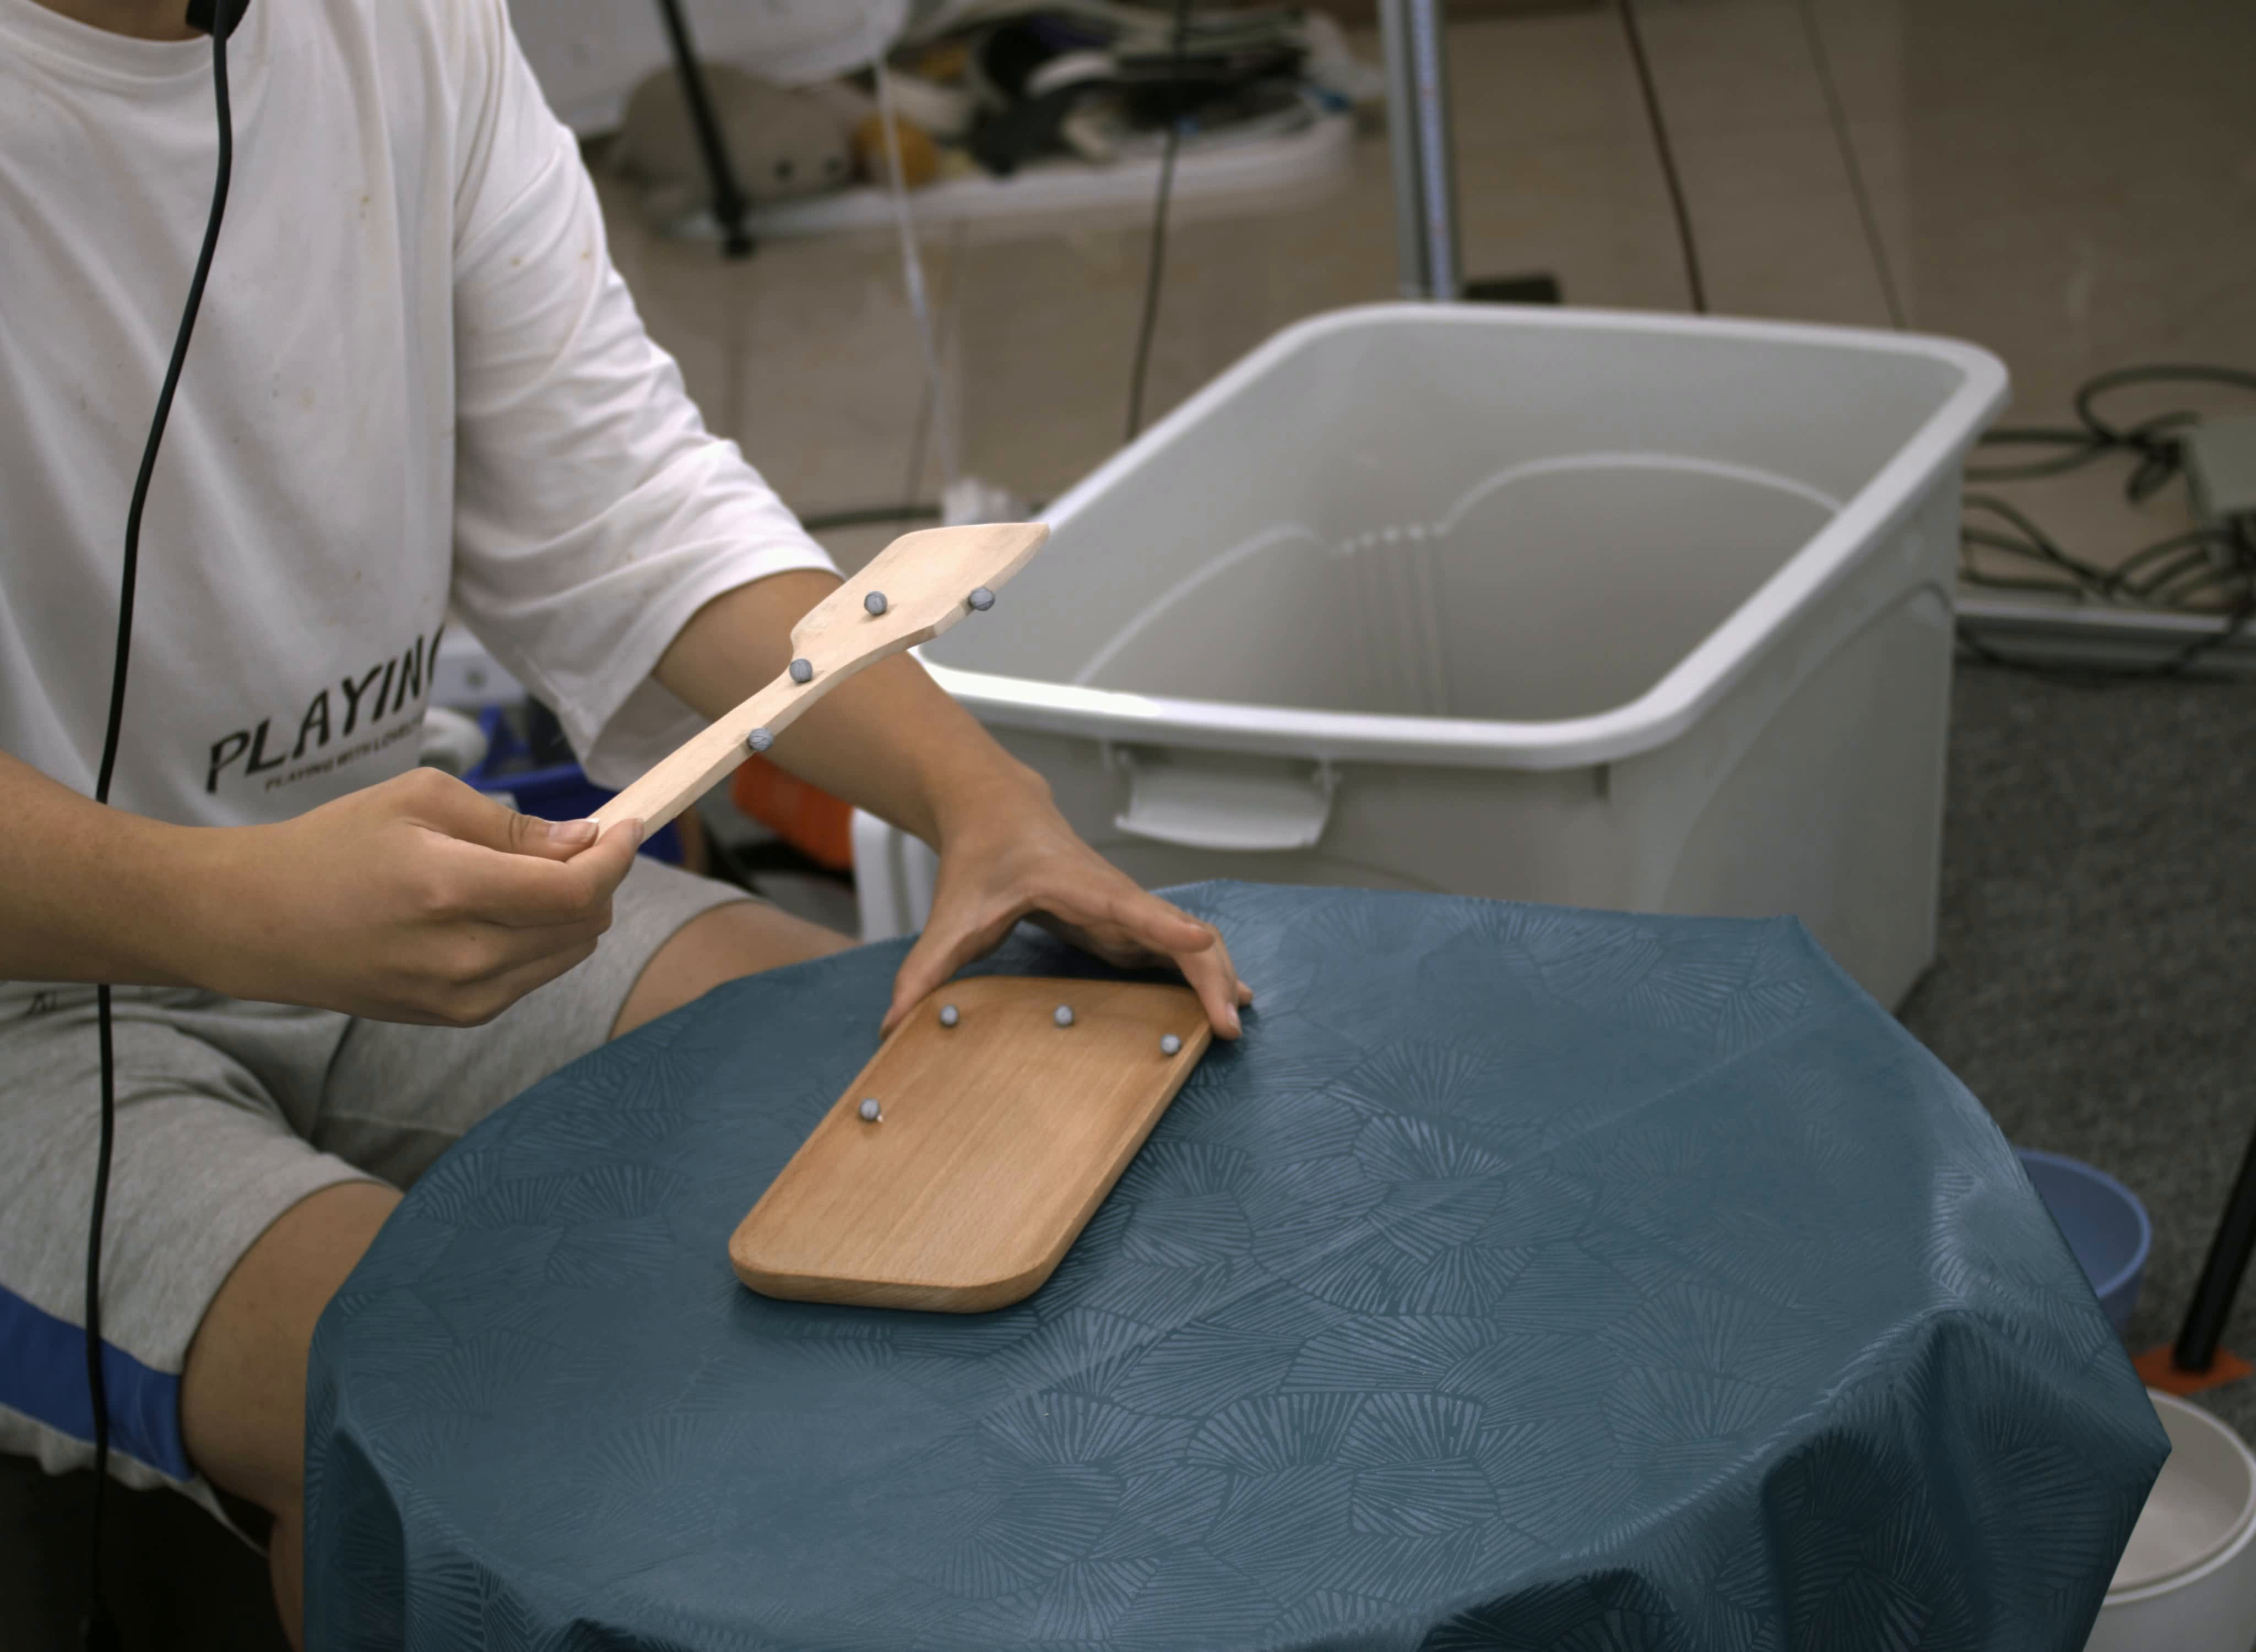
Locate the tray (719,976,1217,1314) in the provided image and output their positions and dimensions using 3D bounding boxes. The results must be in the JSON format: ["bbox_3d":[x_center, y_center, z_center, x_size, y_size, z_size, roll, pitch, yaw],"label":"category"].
[{"bbox_3d":[-0.058,0.120,2.183,0.130,0.023,0.247,1,26,22],"label":"tray"}]

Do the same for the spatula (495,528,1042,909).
[{"bbox_3d":[-0.128,-0.040,1.978,0.072,0.011,0.289,-1,27,35],"label":"spatula"}]
